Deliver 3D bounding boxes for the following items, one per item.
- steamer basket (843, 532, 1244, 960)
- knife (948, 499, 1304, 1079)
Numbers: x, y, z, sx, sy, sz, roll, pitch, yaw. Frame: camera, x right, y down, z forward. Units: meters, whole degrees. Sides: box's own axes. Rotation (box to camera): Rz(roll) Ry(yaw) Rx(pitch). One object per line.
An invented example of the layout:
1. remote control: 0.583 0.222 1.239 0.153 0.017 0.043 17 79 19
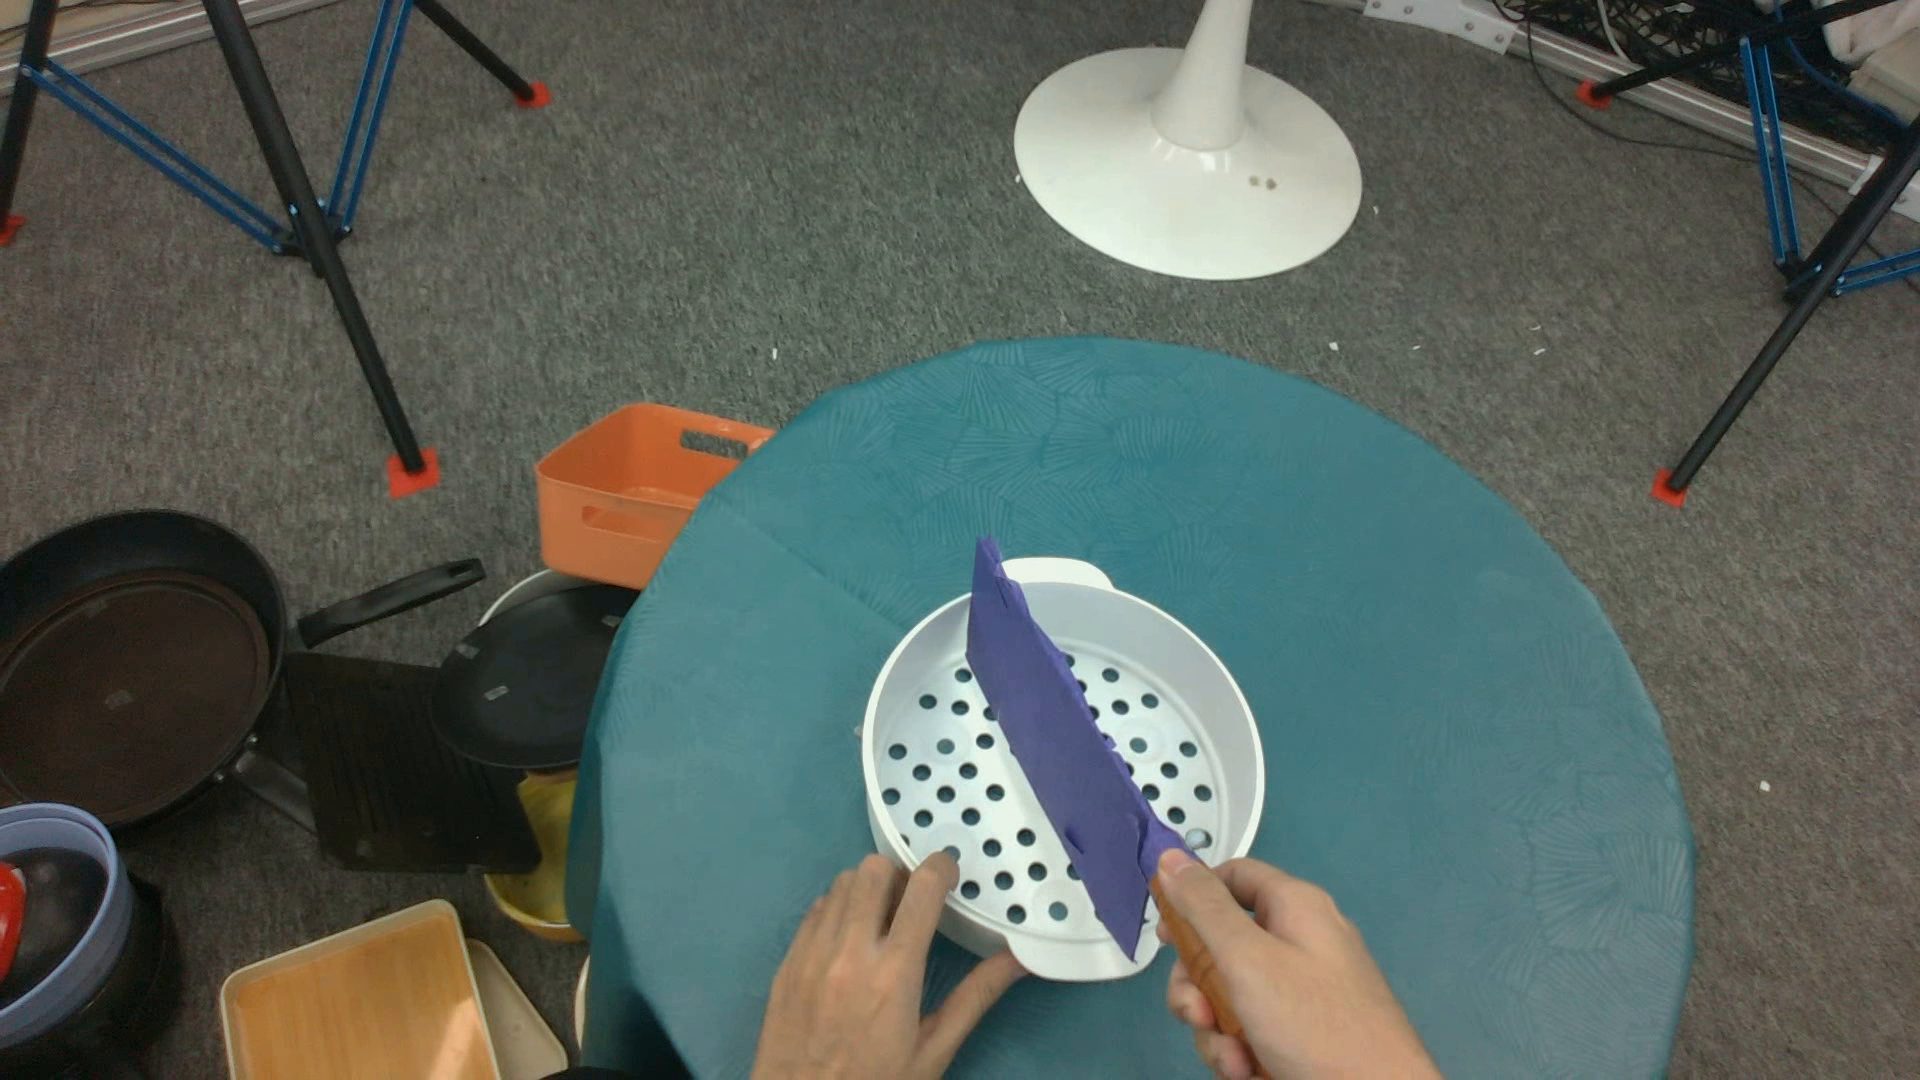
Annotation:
1. steamer basket: 0.040 0.108 0.711 0.202 0.069 0.231 0 57 -6
2. knife: 0.056 0.112 0.617 0.032 0.103 0.316 -9 41 -17
